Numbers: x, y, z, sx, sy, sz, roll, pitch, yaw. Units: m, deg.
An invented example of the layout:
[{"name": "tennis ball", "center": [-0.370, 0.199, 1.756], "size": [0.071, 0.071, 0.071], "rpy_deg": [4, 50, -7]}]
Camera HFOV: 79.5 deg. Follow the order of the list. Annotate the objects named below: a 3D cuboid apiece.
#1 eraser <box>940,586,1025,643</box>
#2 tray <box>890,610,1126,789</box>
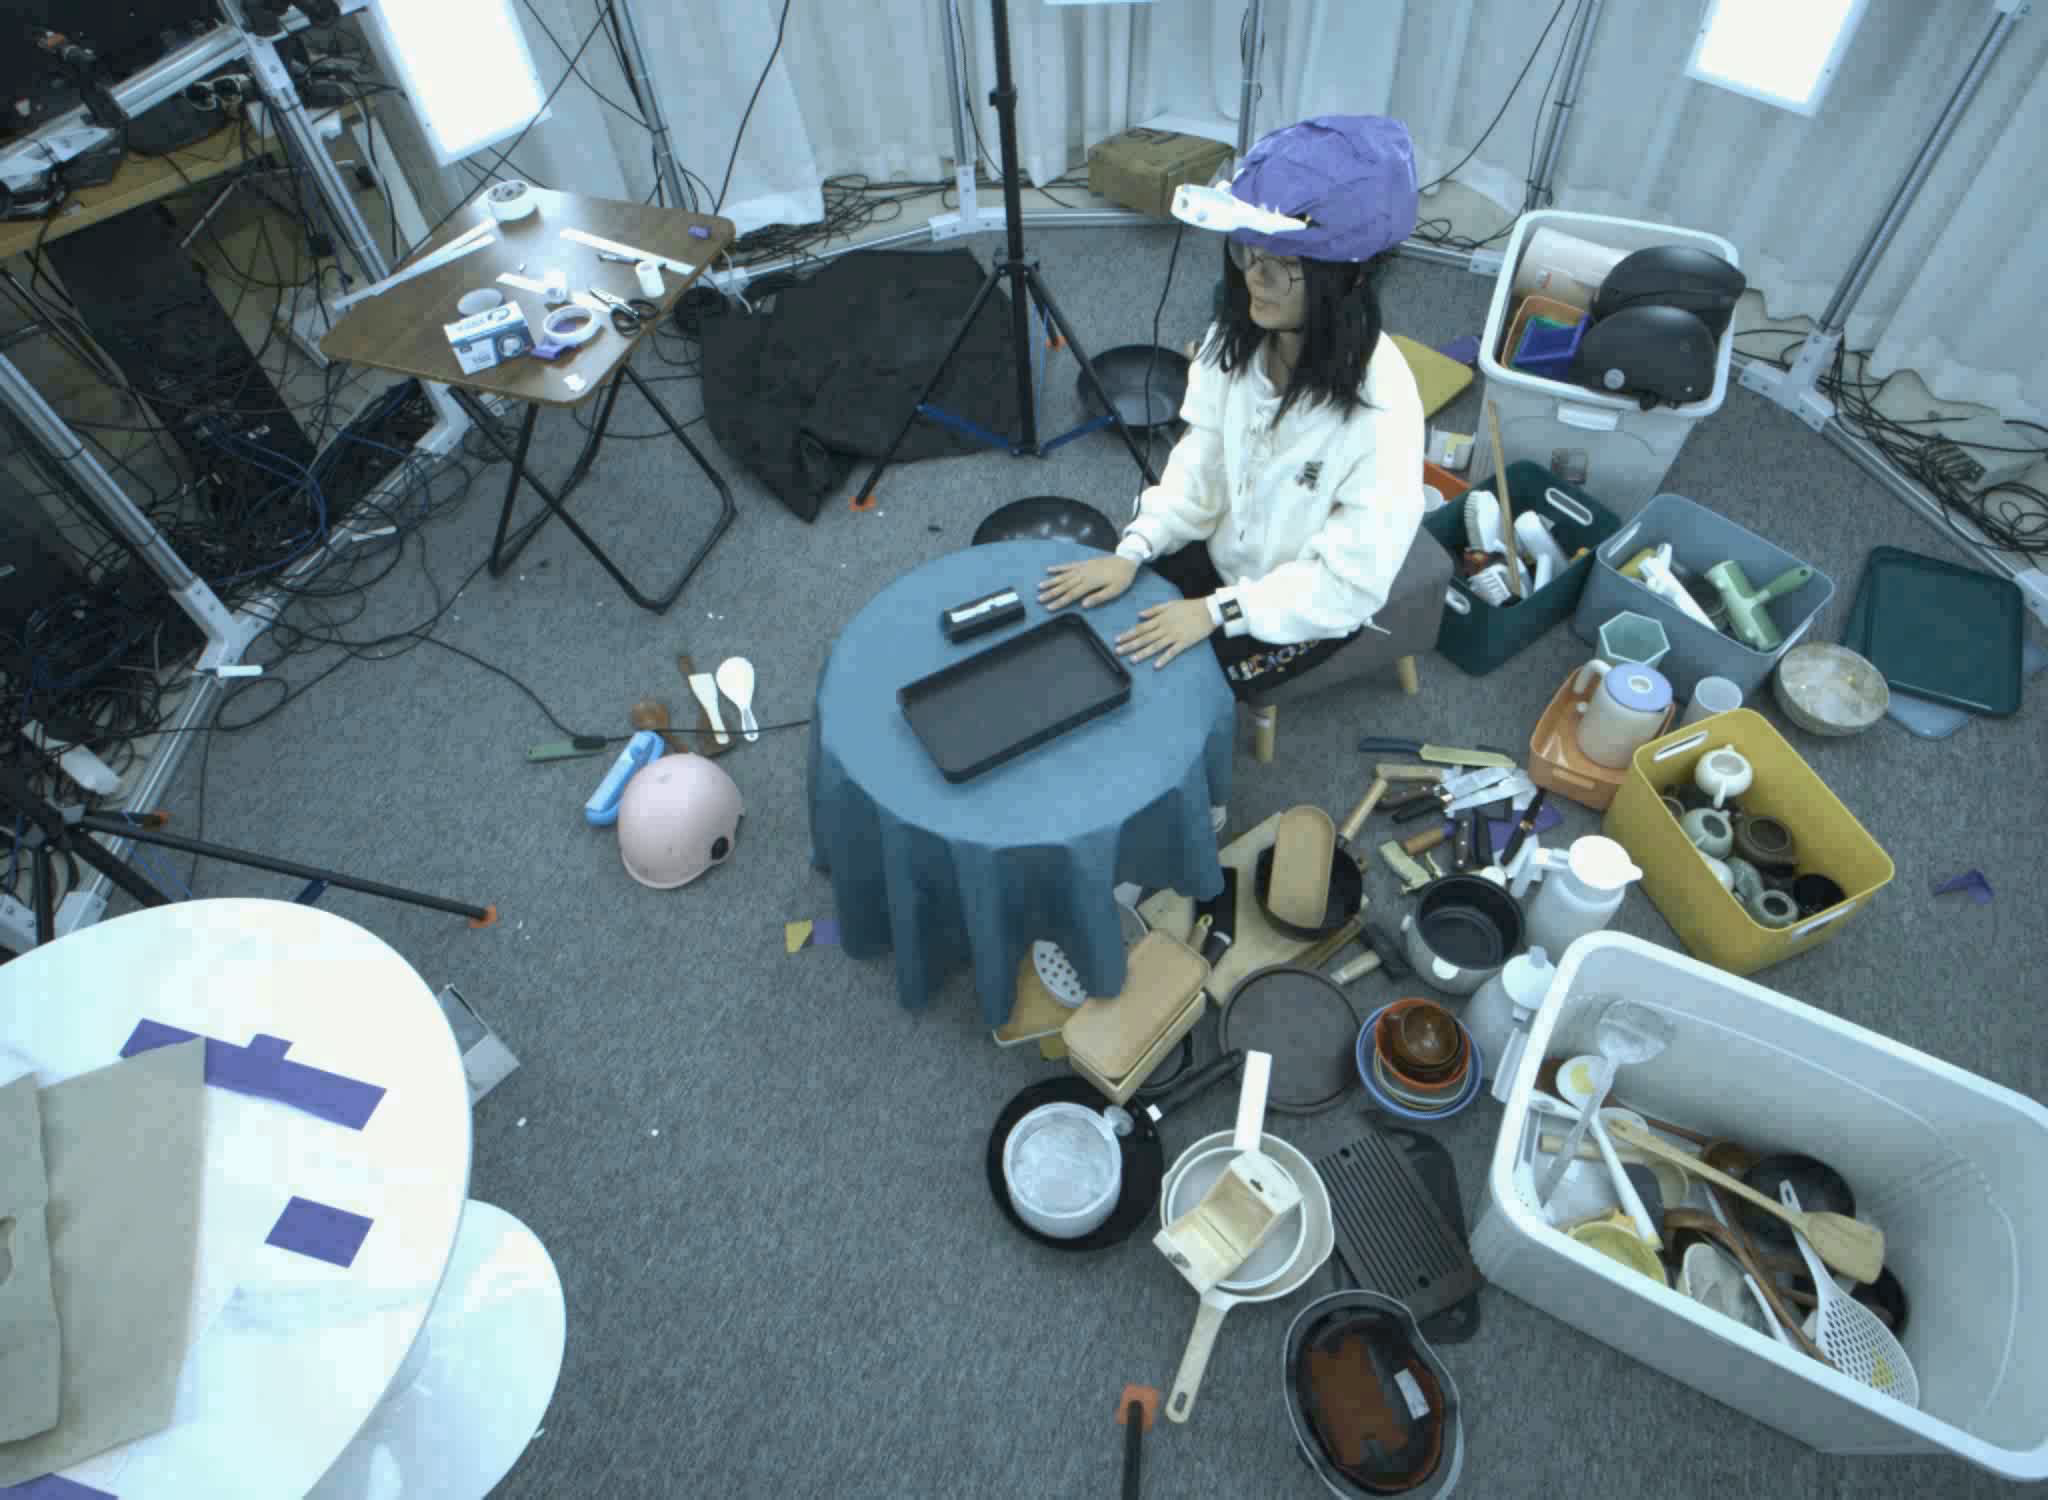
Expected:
[{"name": "eraser", "center": [-0.066, -0.213, 1.924], "size": [0.126, 0.031, 0.052], "rpy_deg": [-22, 60, -13]}, {"name": "tray", "center": [-0.022, -0.079, 1.822], "size": [0.320, 0.037, 0.181], "rpy_deg": [-29, 59, -17]}]
